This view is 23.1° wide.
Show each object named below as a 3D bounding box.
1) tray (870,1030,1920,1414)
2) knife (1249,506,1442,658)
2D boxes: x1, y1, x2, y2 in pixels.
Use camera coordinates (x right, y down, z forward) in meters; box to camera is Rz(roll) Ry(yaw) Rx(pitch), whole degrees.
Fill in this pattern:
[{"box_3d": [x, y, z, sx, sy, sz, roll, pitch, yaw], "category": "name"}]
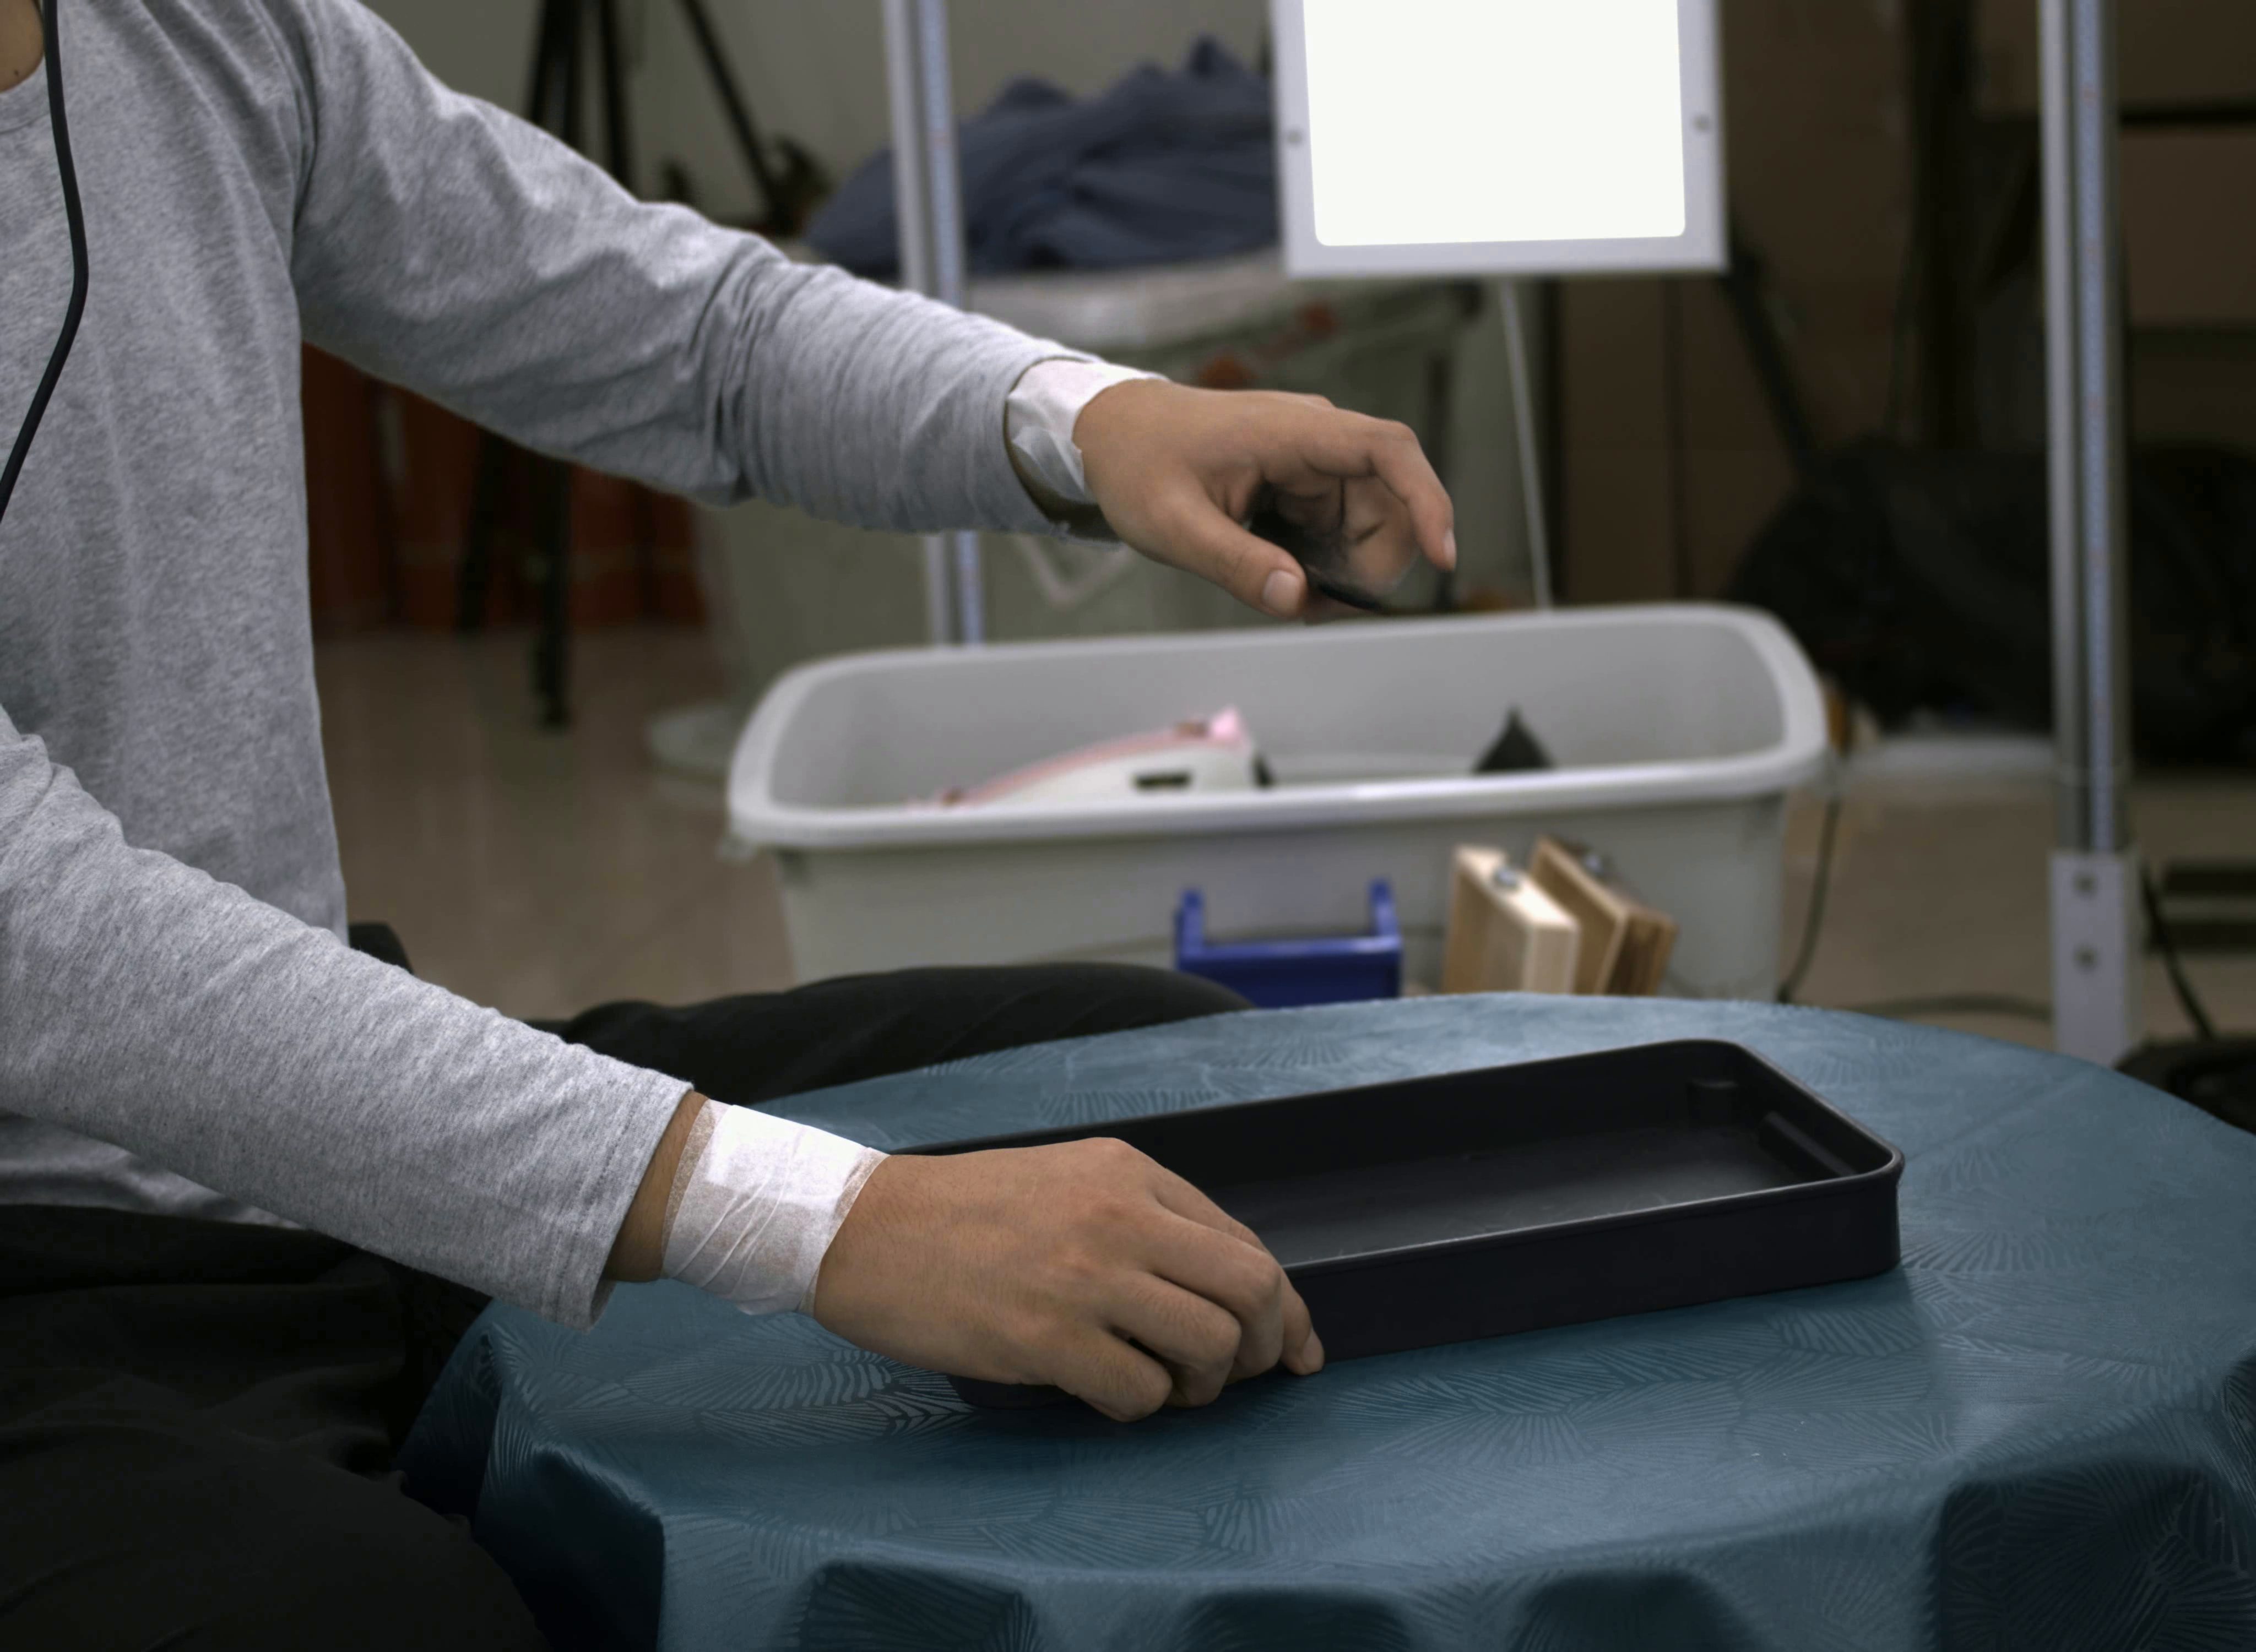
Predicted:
[{"box_3d": [0.086, 0.126, 1.801, 0.314, 0.037, 0.186, -9, 14, -12], "category": "tray"}, {"box_3d": [0.073, -0.081, 1.844, 0.024, 0.016, 0.239, 25, 7, -16], "category": "knife"}]
